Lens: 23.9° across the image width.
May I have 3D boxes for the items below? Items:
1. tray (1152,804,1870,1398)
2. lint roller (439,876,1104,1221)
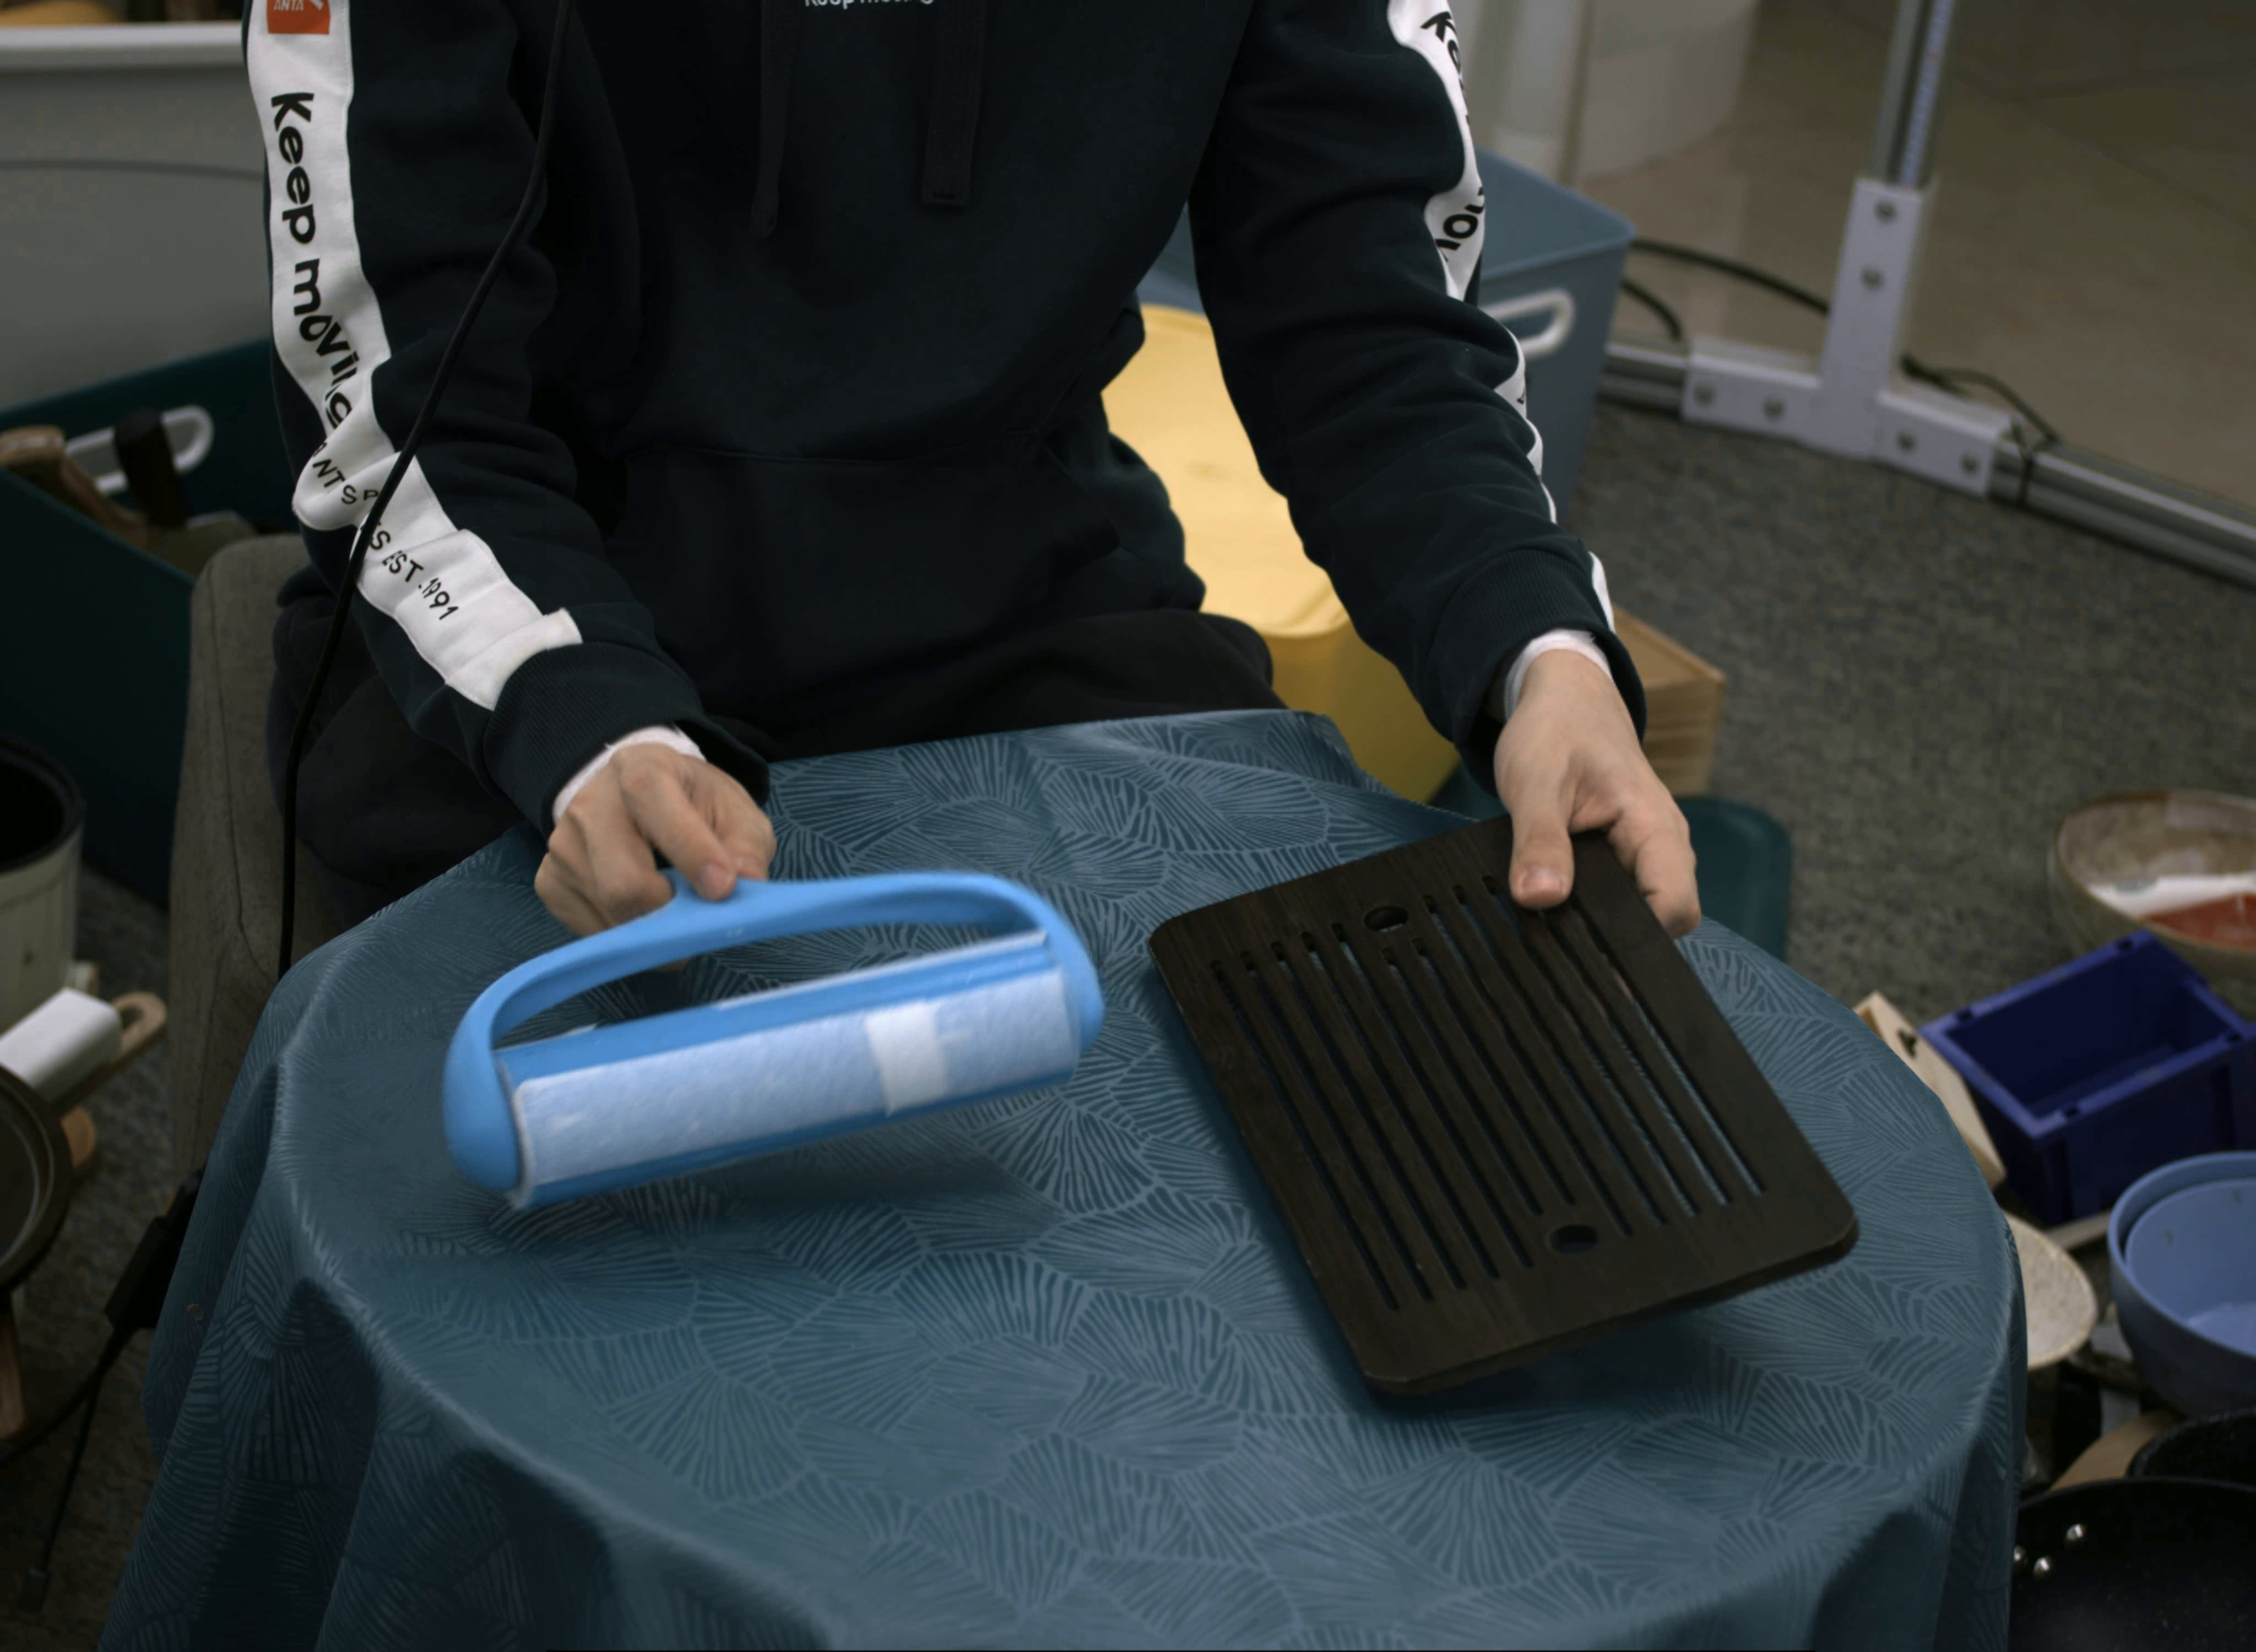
[{"bbox_3d":[0.124,0.090,1.821,0.169,0.018,0.308,-17,30,-6],"label":"tray"},{"bbox_3d":[-0.140,0.053,1.798,0.228,0.067,0.182,-14,35,-20],"label":"lint roller"}]
